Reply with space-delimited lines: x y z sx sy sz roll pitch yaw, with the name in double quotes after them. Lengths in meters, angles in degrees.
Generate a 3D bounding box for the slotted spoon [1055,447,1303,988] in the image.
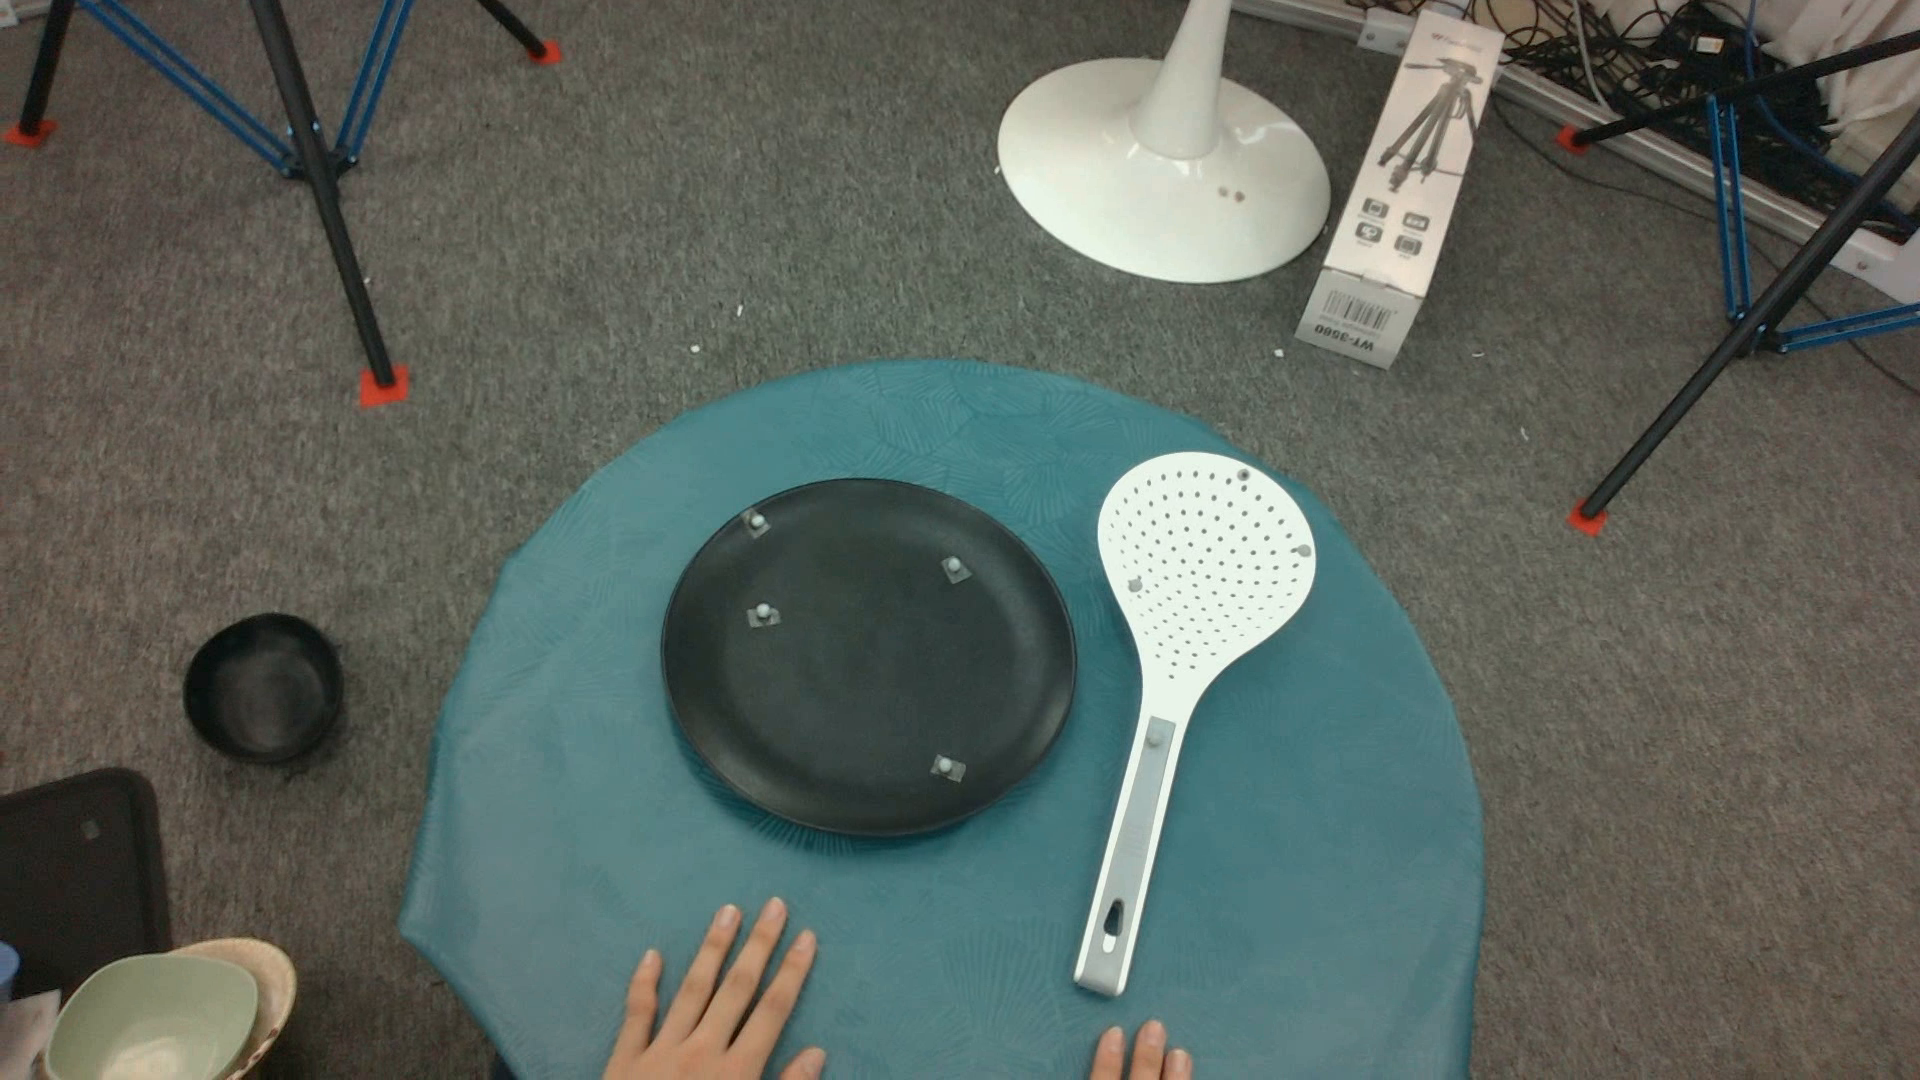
0.114 0.089 0.806 0.136 0.045 0.351 17 54 5 "slotted spoon"

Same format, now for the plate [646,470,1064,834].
-0.060 0.061 0.810 0.244 0.023 0.245 5 54 -7 "plate"
